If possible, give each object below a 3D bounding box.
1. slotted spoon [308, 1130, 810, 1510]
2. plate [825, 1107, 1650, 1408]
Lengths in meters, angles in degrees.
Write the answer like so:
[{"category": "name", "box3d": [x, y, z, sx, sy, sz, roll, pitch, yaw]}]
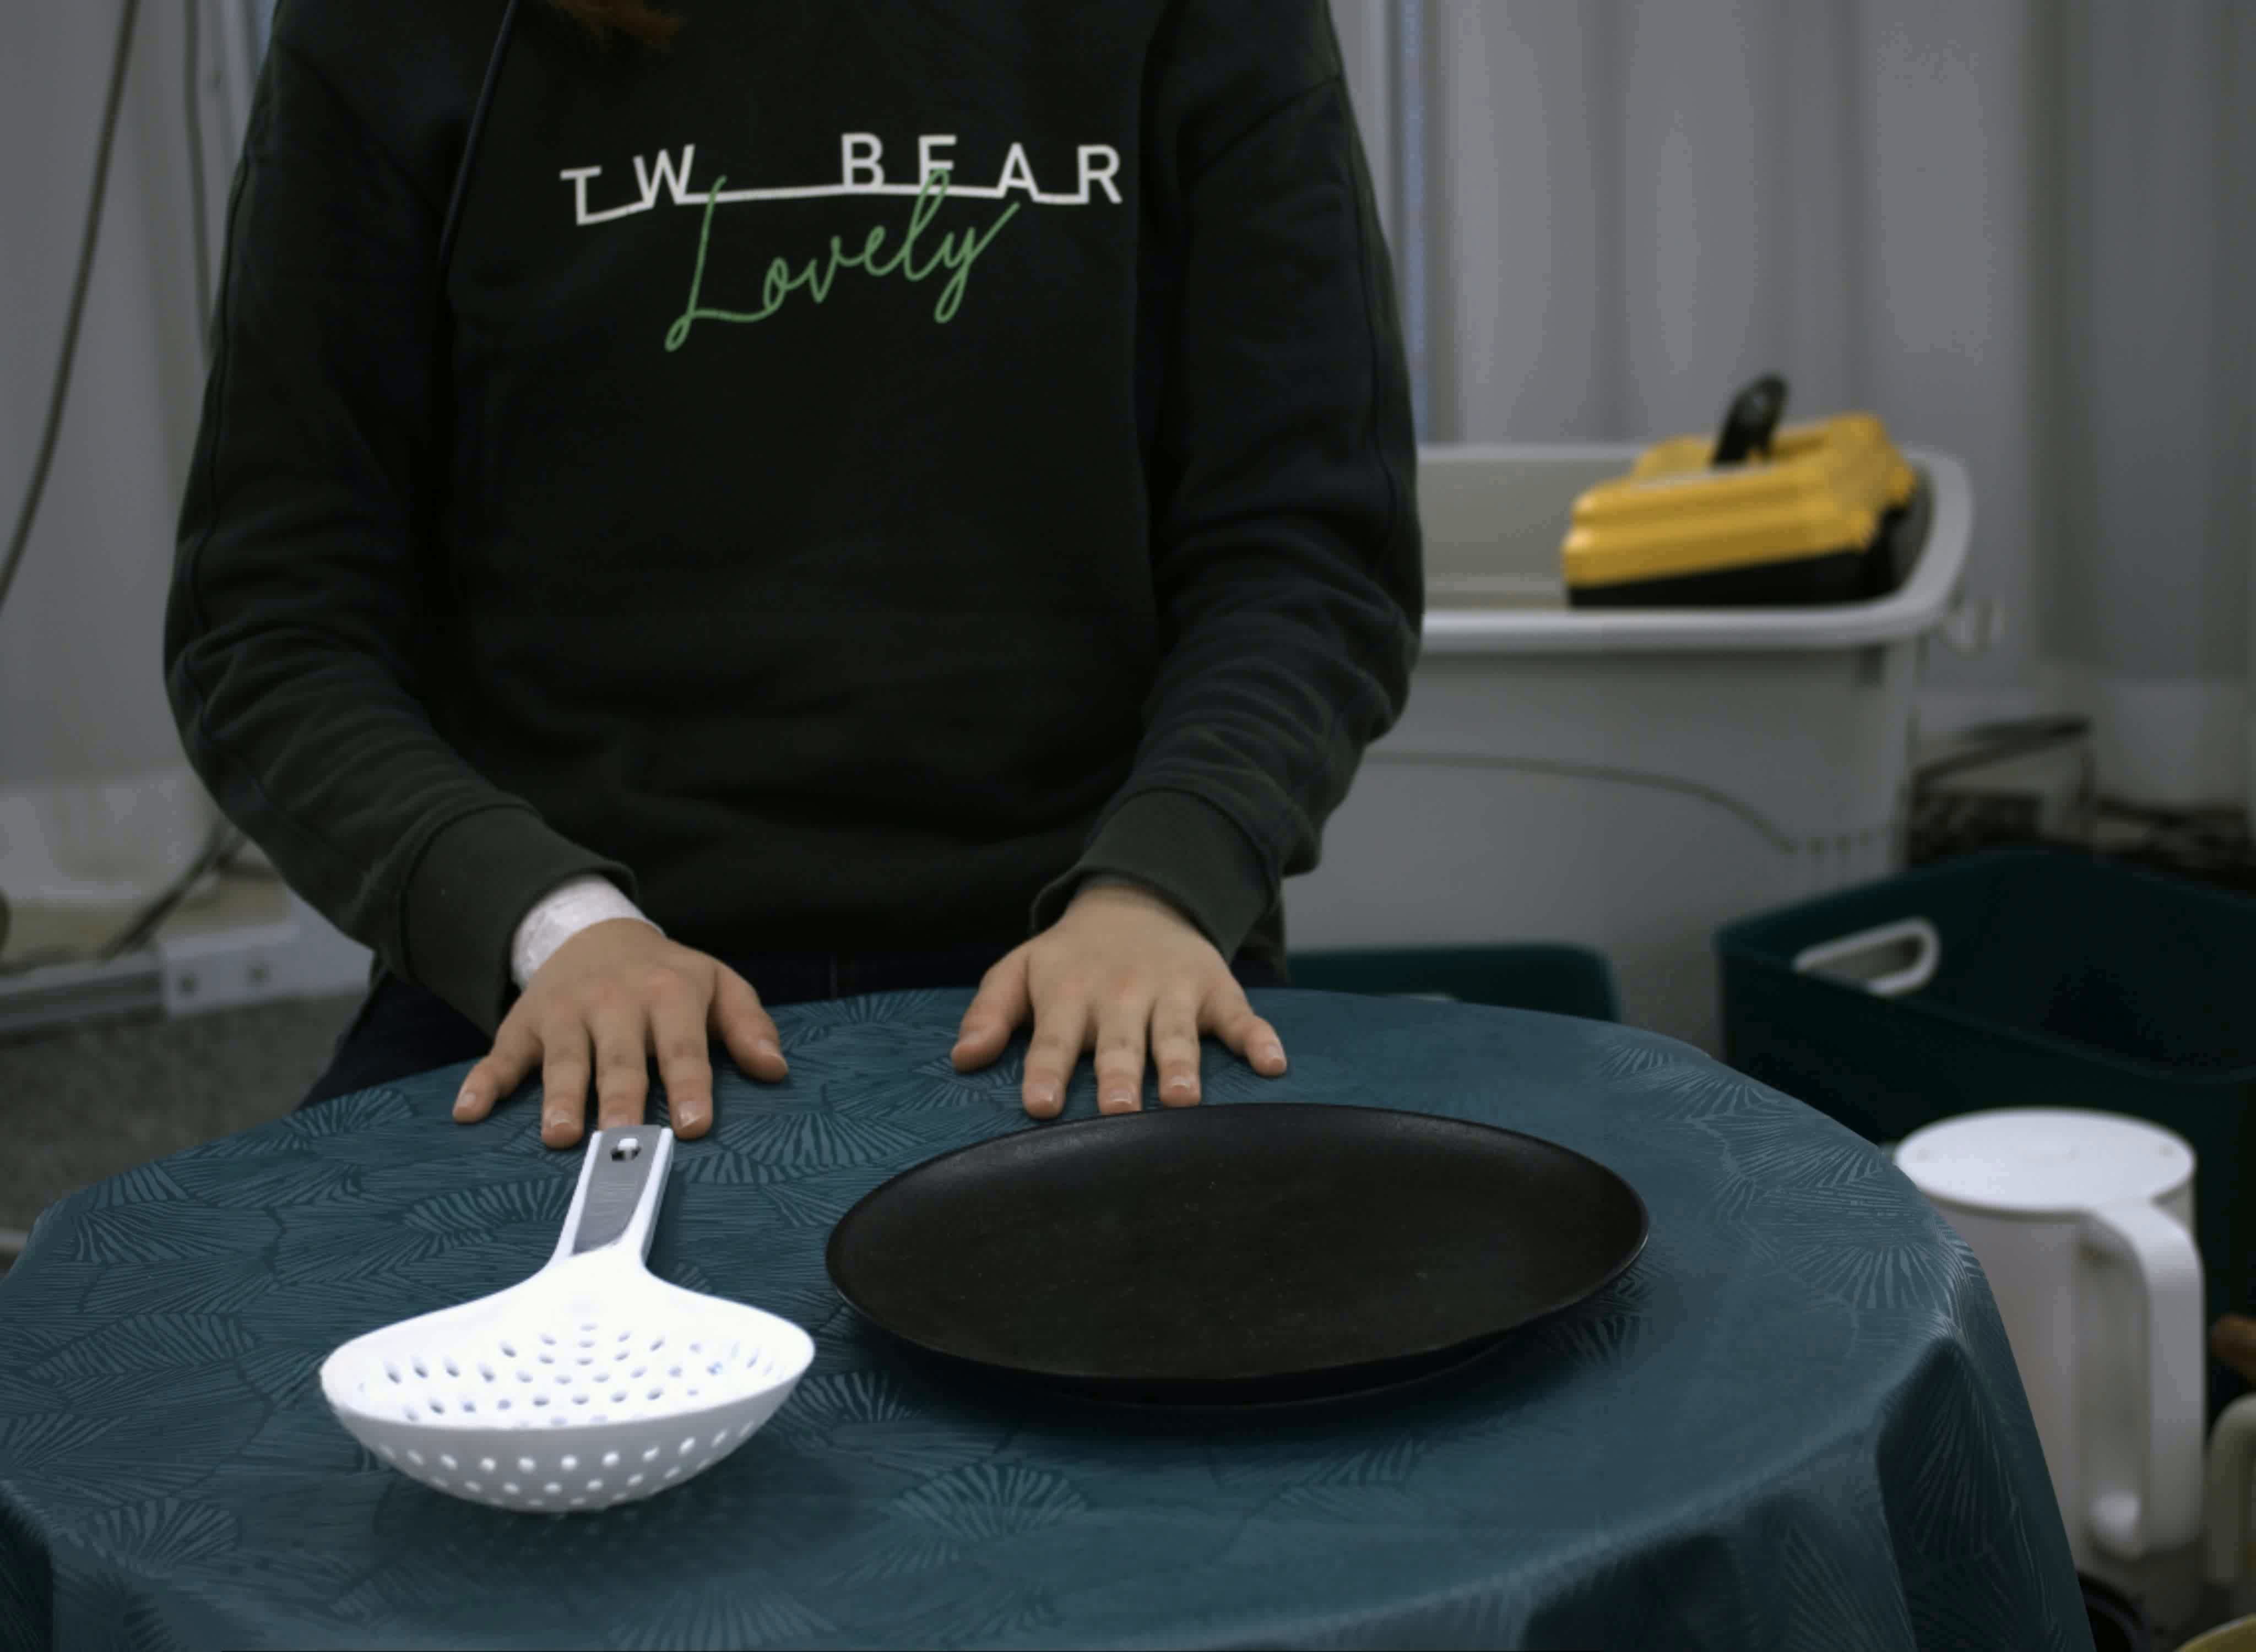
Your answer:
[{"category": "slotted spoon", "box3d": [-0.155, 0.134, 1.586, 0.135, 0.045, 0.352, -1, 14, -1]}, {"category": "plate", "box3d": [0.032, 0.129, 1.609, 0.243, 0.023, 0.246, -3, 15, 0]}]
